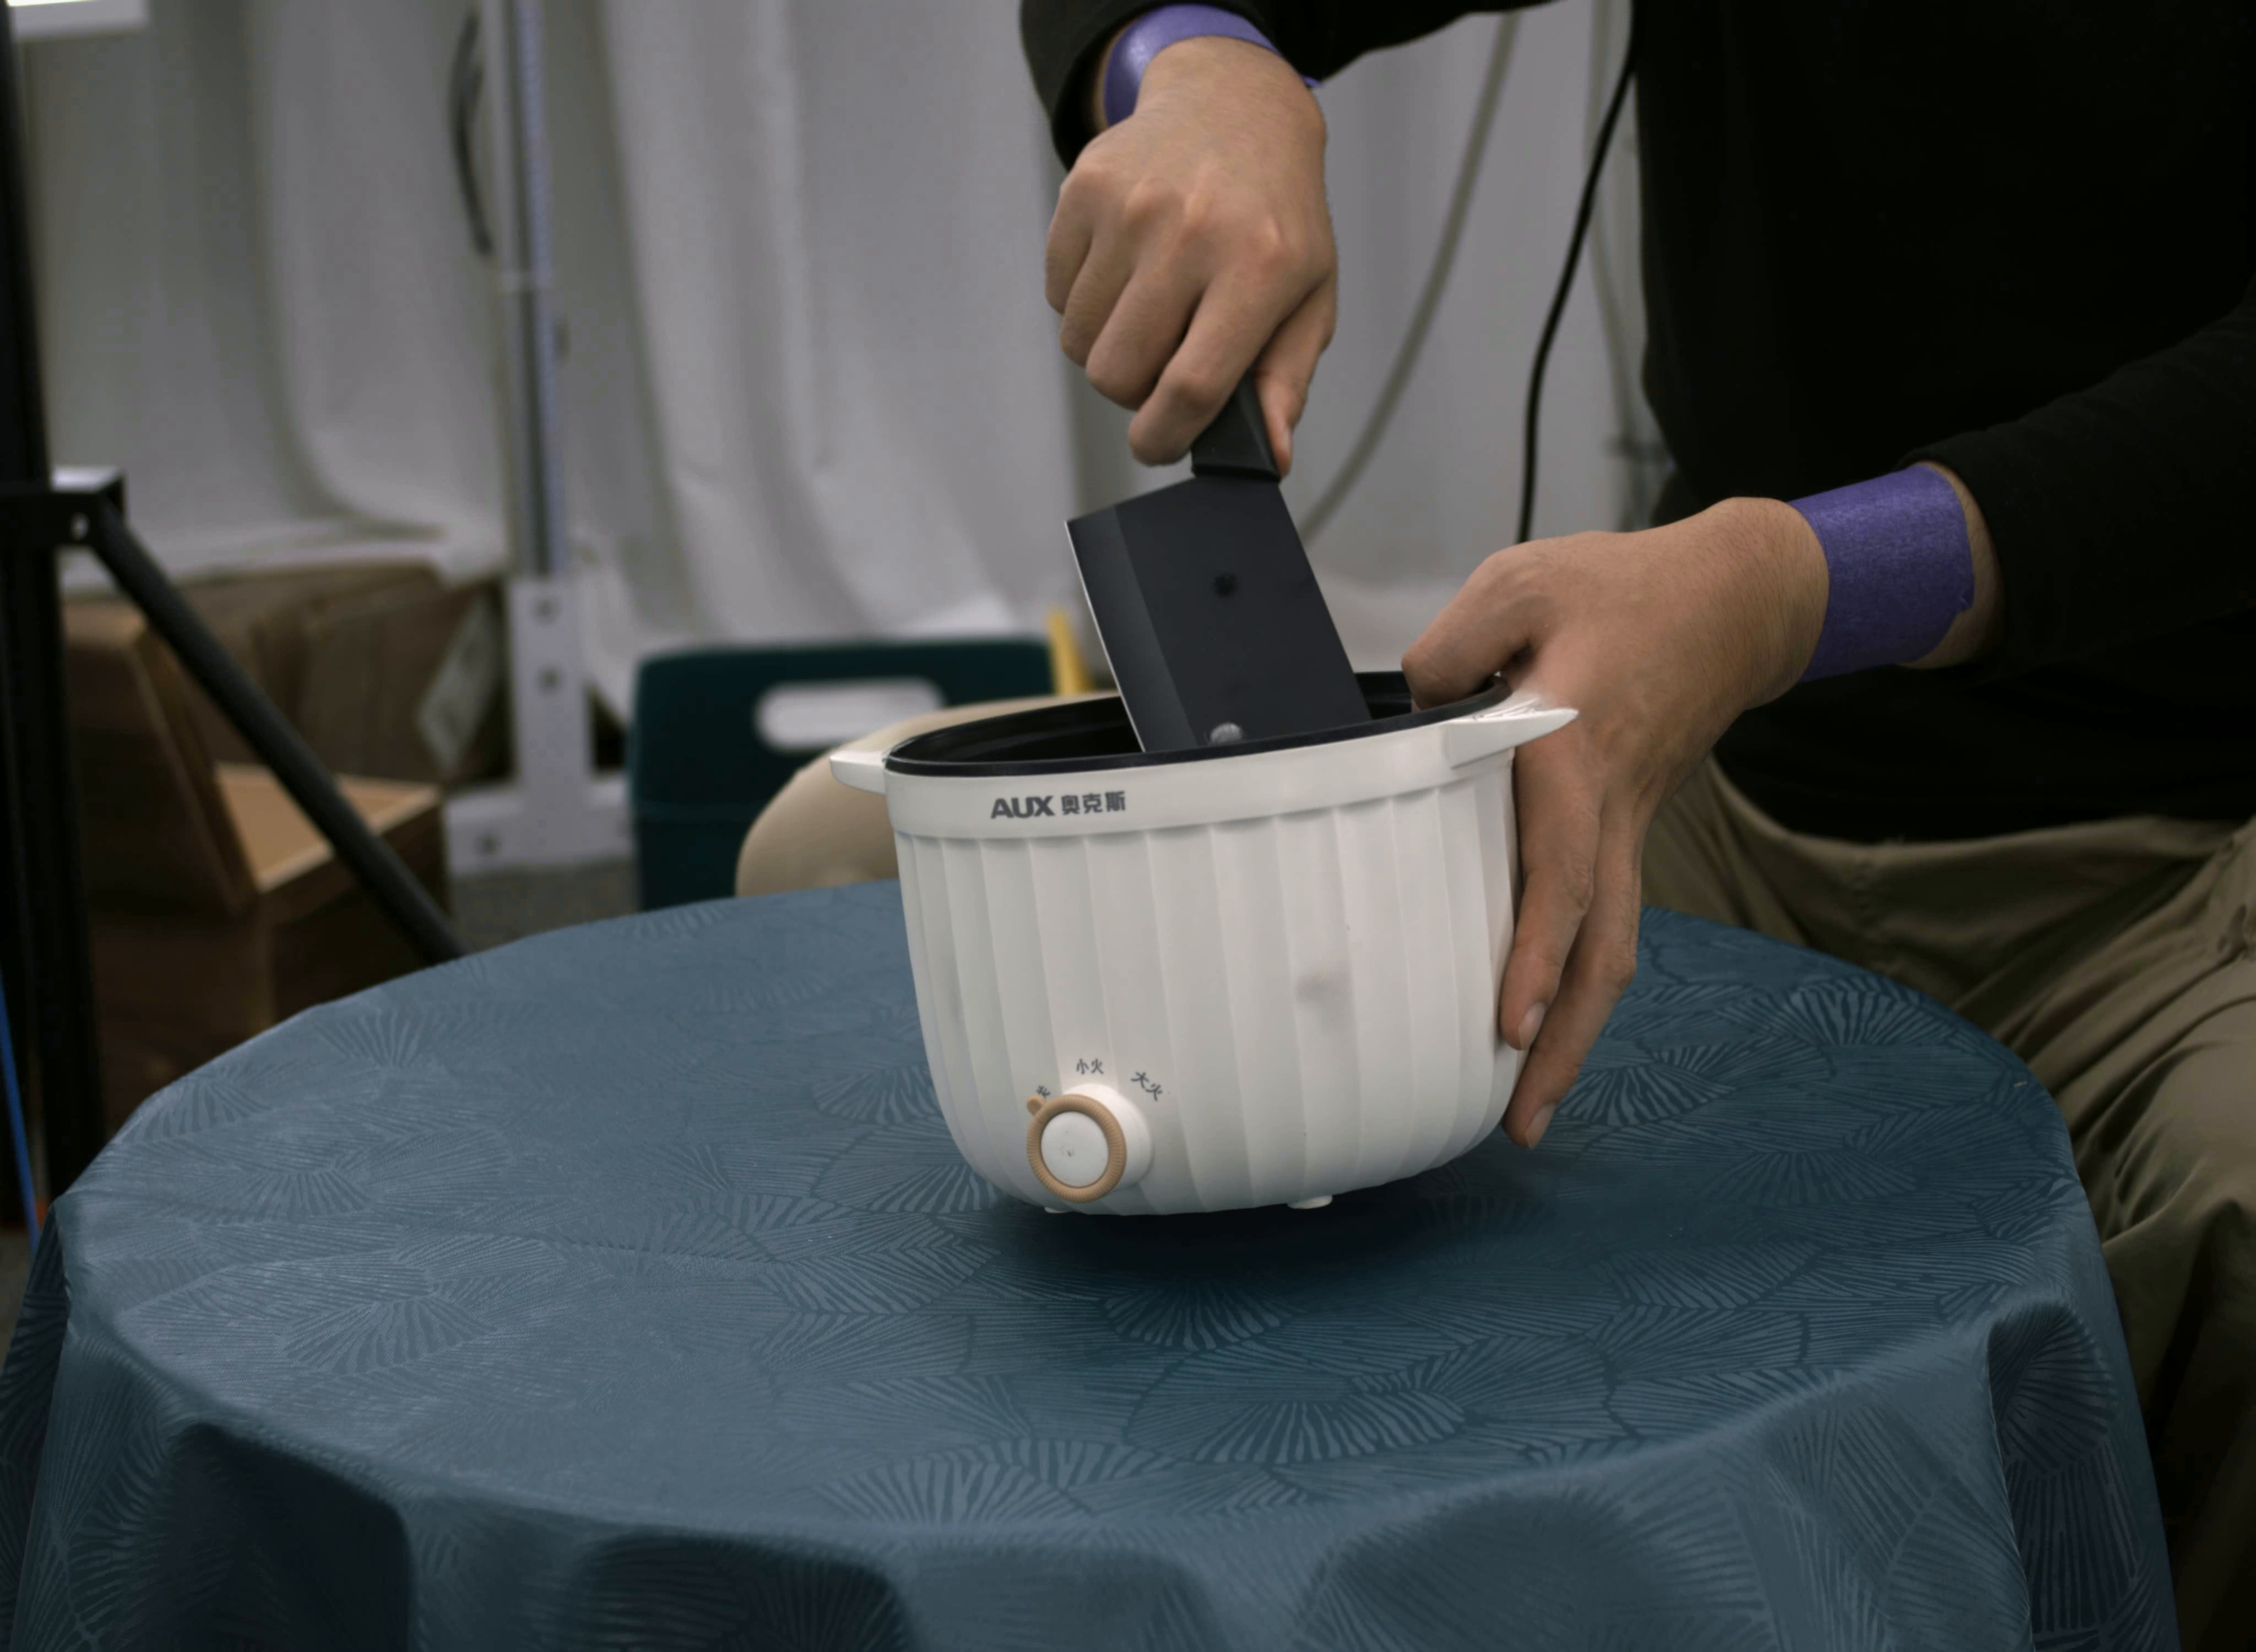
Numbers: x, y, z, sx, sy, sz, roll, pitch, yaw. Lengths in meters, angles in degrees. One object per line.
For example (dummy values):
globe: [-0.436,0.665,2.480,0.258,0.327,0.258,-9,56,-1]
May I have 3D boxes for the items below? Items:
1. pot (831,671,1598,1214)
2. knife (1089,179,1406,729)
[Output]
pot: [0.026,0.035,1.519,0.244,0.143,0.187,-4,3,29]
knife: [0.034,-0.084,1.596,0.080,0.020,0.307,-16,52,1]
